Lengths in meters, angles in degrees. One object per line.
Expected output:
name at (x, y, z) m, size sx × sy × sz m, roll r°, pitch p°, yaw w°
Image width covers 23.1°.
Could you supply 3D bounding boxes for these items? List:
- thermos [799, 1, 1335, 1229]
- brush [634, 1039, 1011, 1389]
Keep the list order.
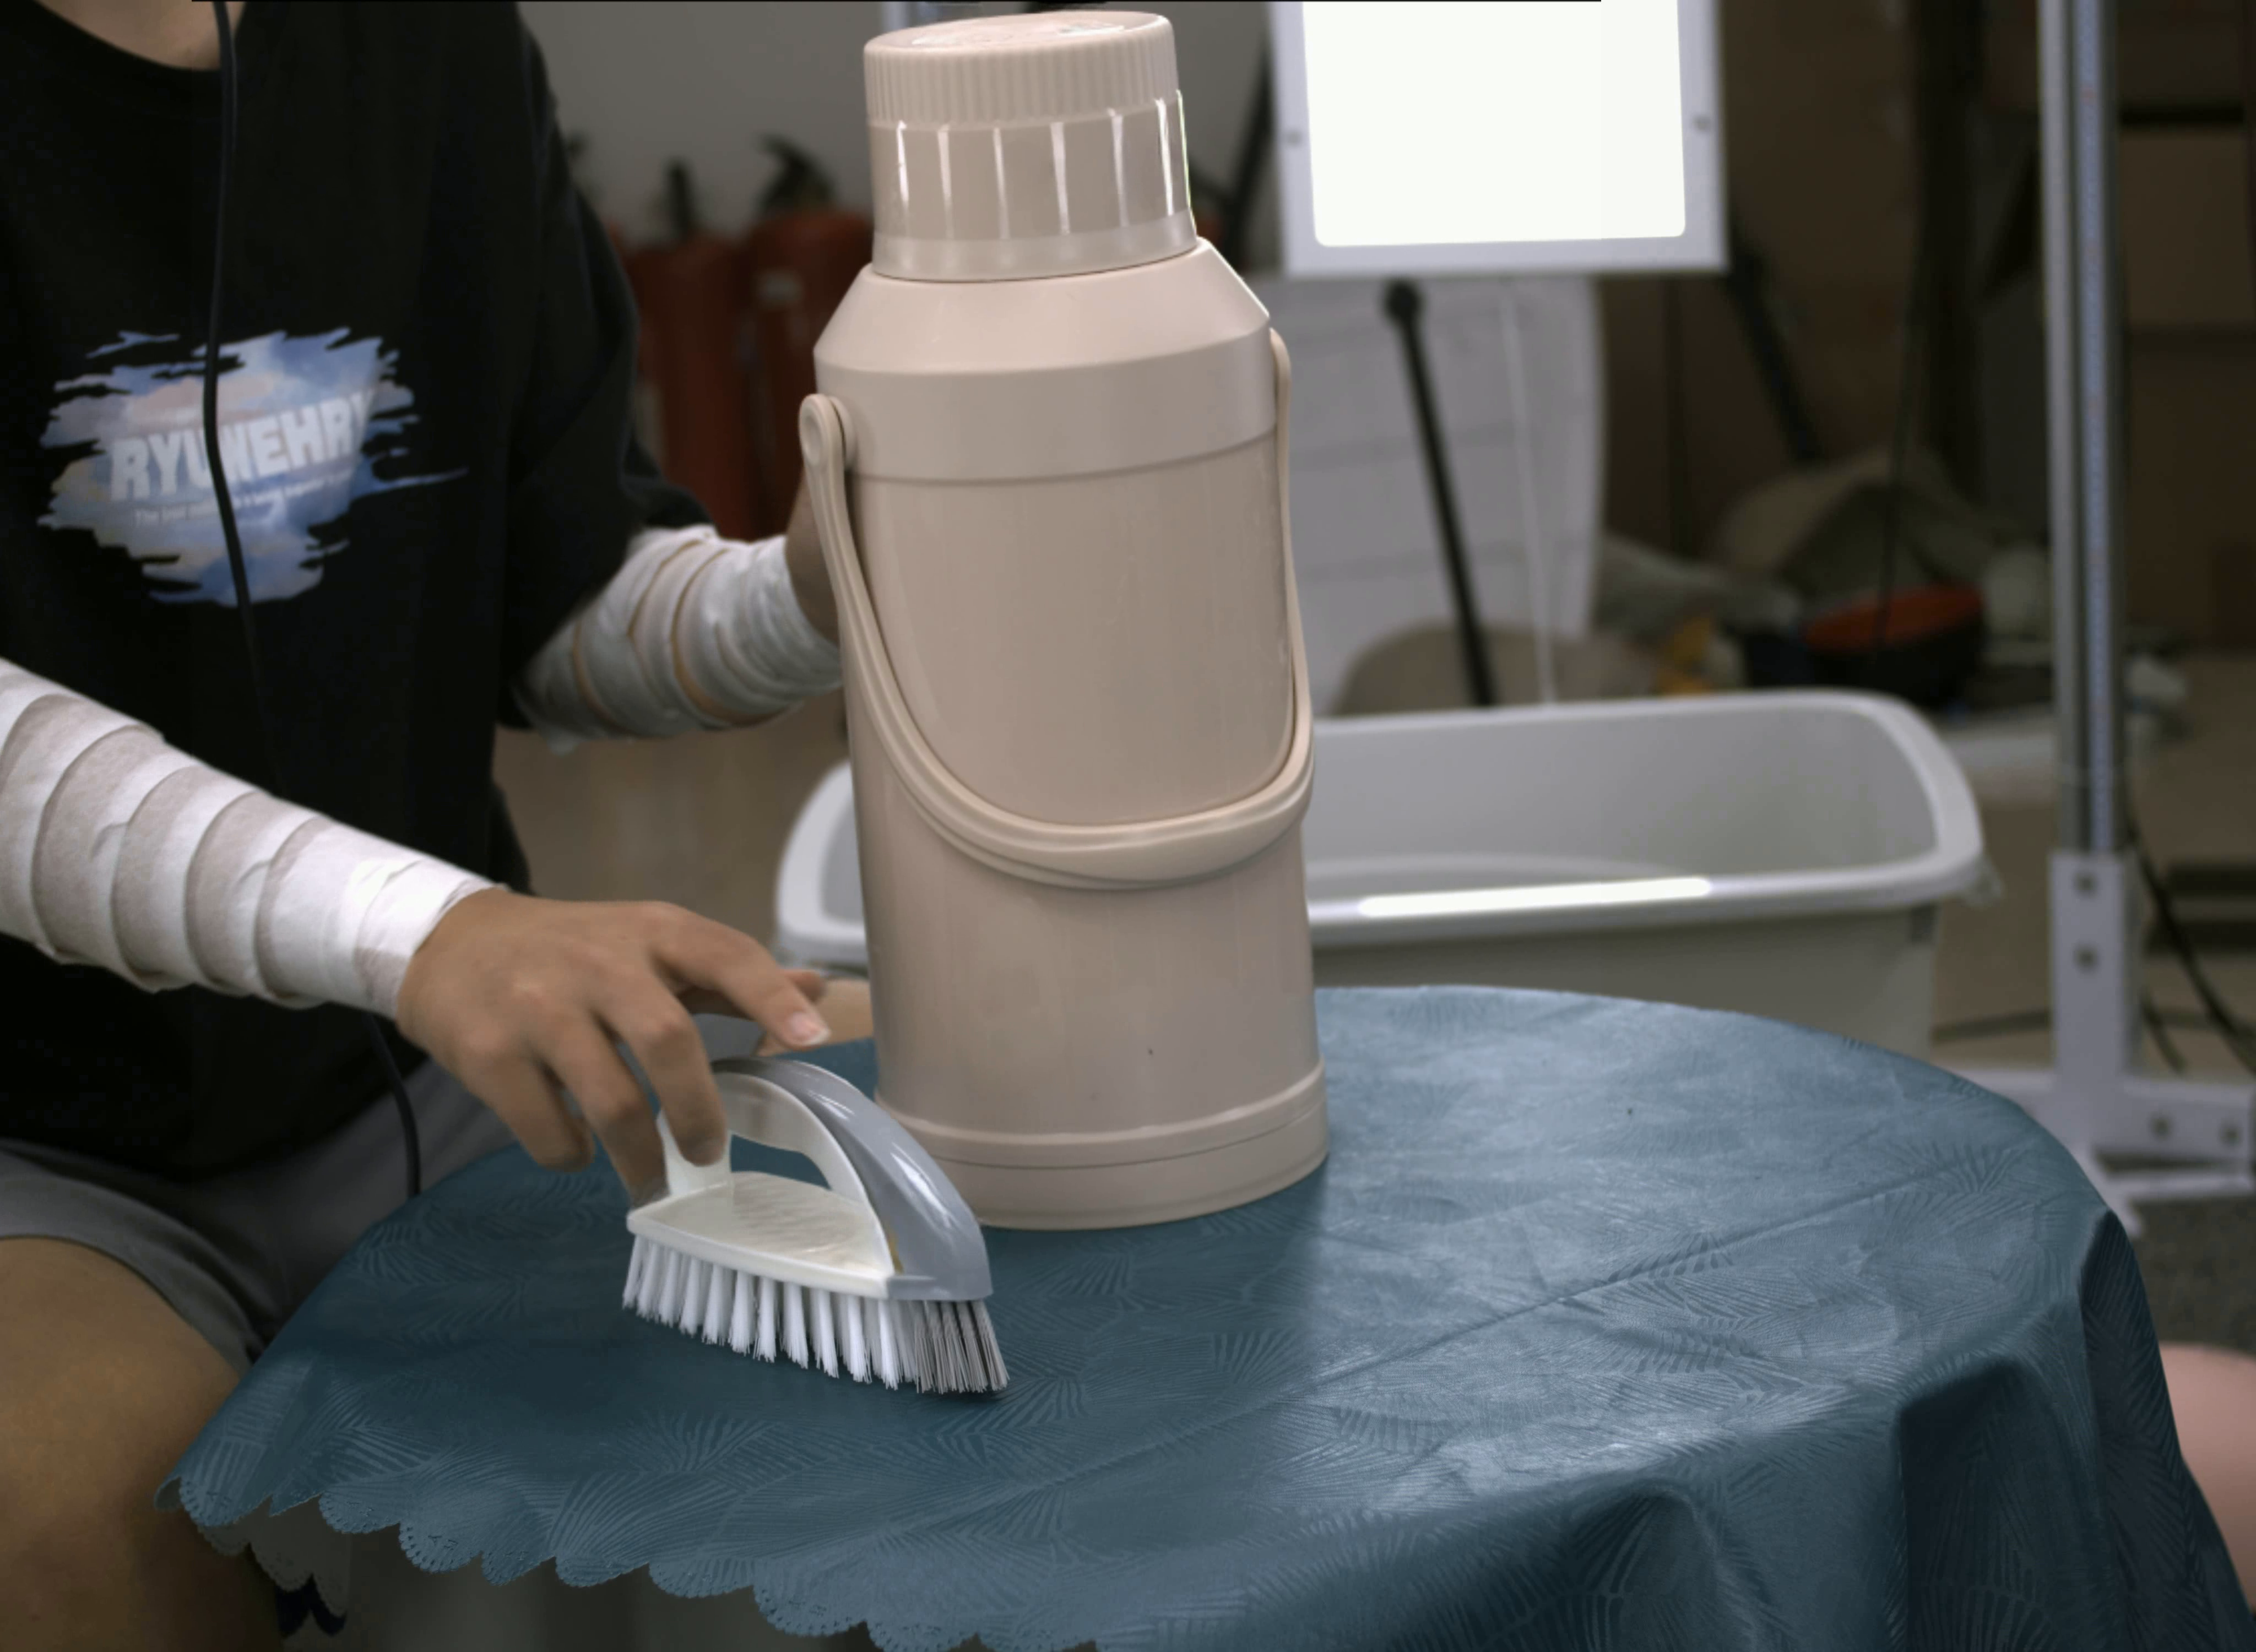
thermos at (-0.026, -0.077, 1.902) m, size 0.172 × 0.408 × 0.210 m, roll -12°, pitch 15°, yaw -23°
brush at (-0.095, 0.120, 1.762) m, size 0.060 × 0.094 × 0.179 m, roll -17°, pitch 20°, yaw -34°
